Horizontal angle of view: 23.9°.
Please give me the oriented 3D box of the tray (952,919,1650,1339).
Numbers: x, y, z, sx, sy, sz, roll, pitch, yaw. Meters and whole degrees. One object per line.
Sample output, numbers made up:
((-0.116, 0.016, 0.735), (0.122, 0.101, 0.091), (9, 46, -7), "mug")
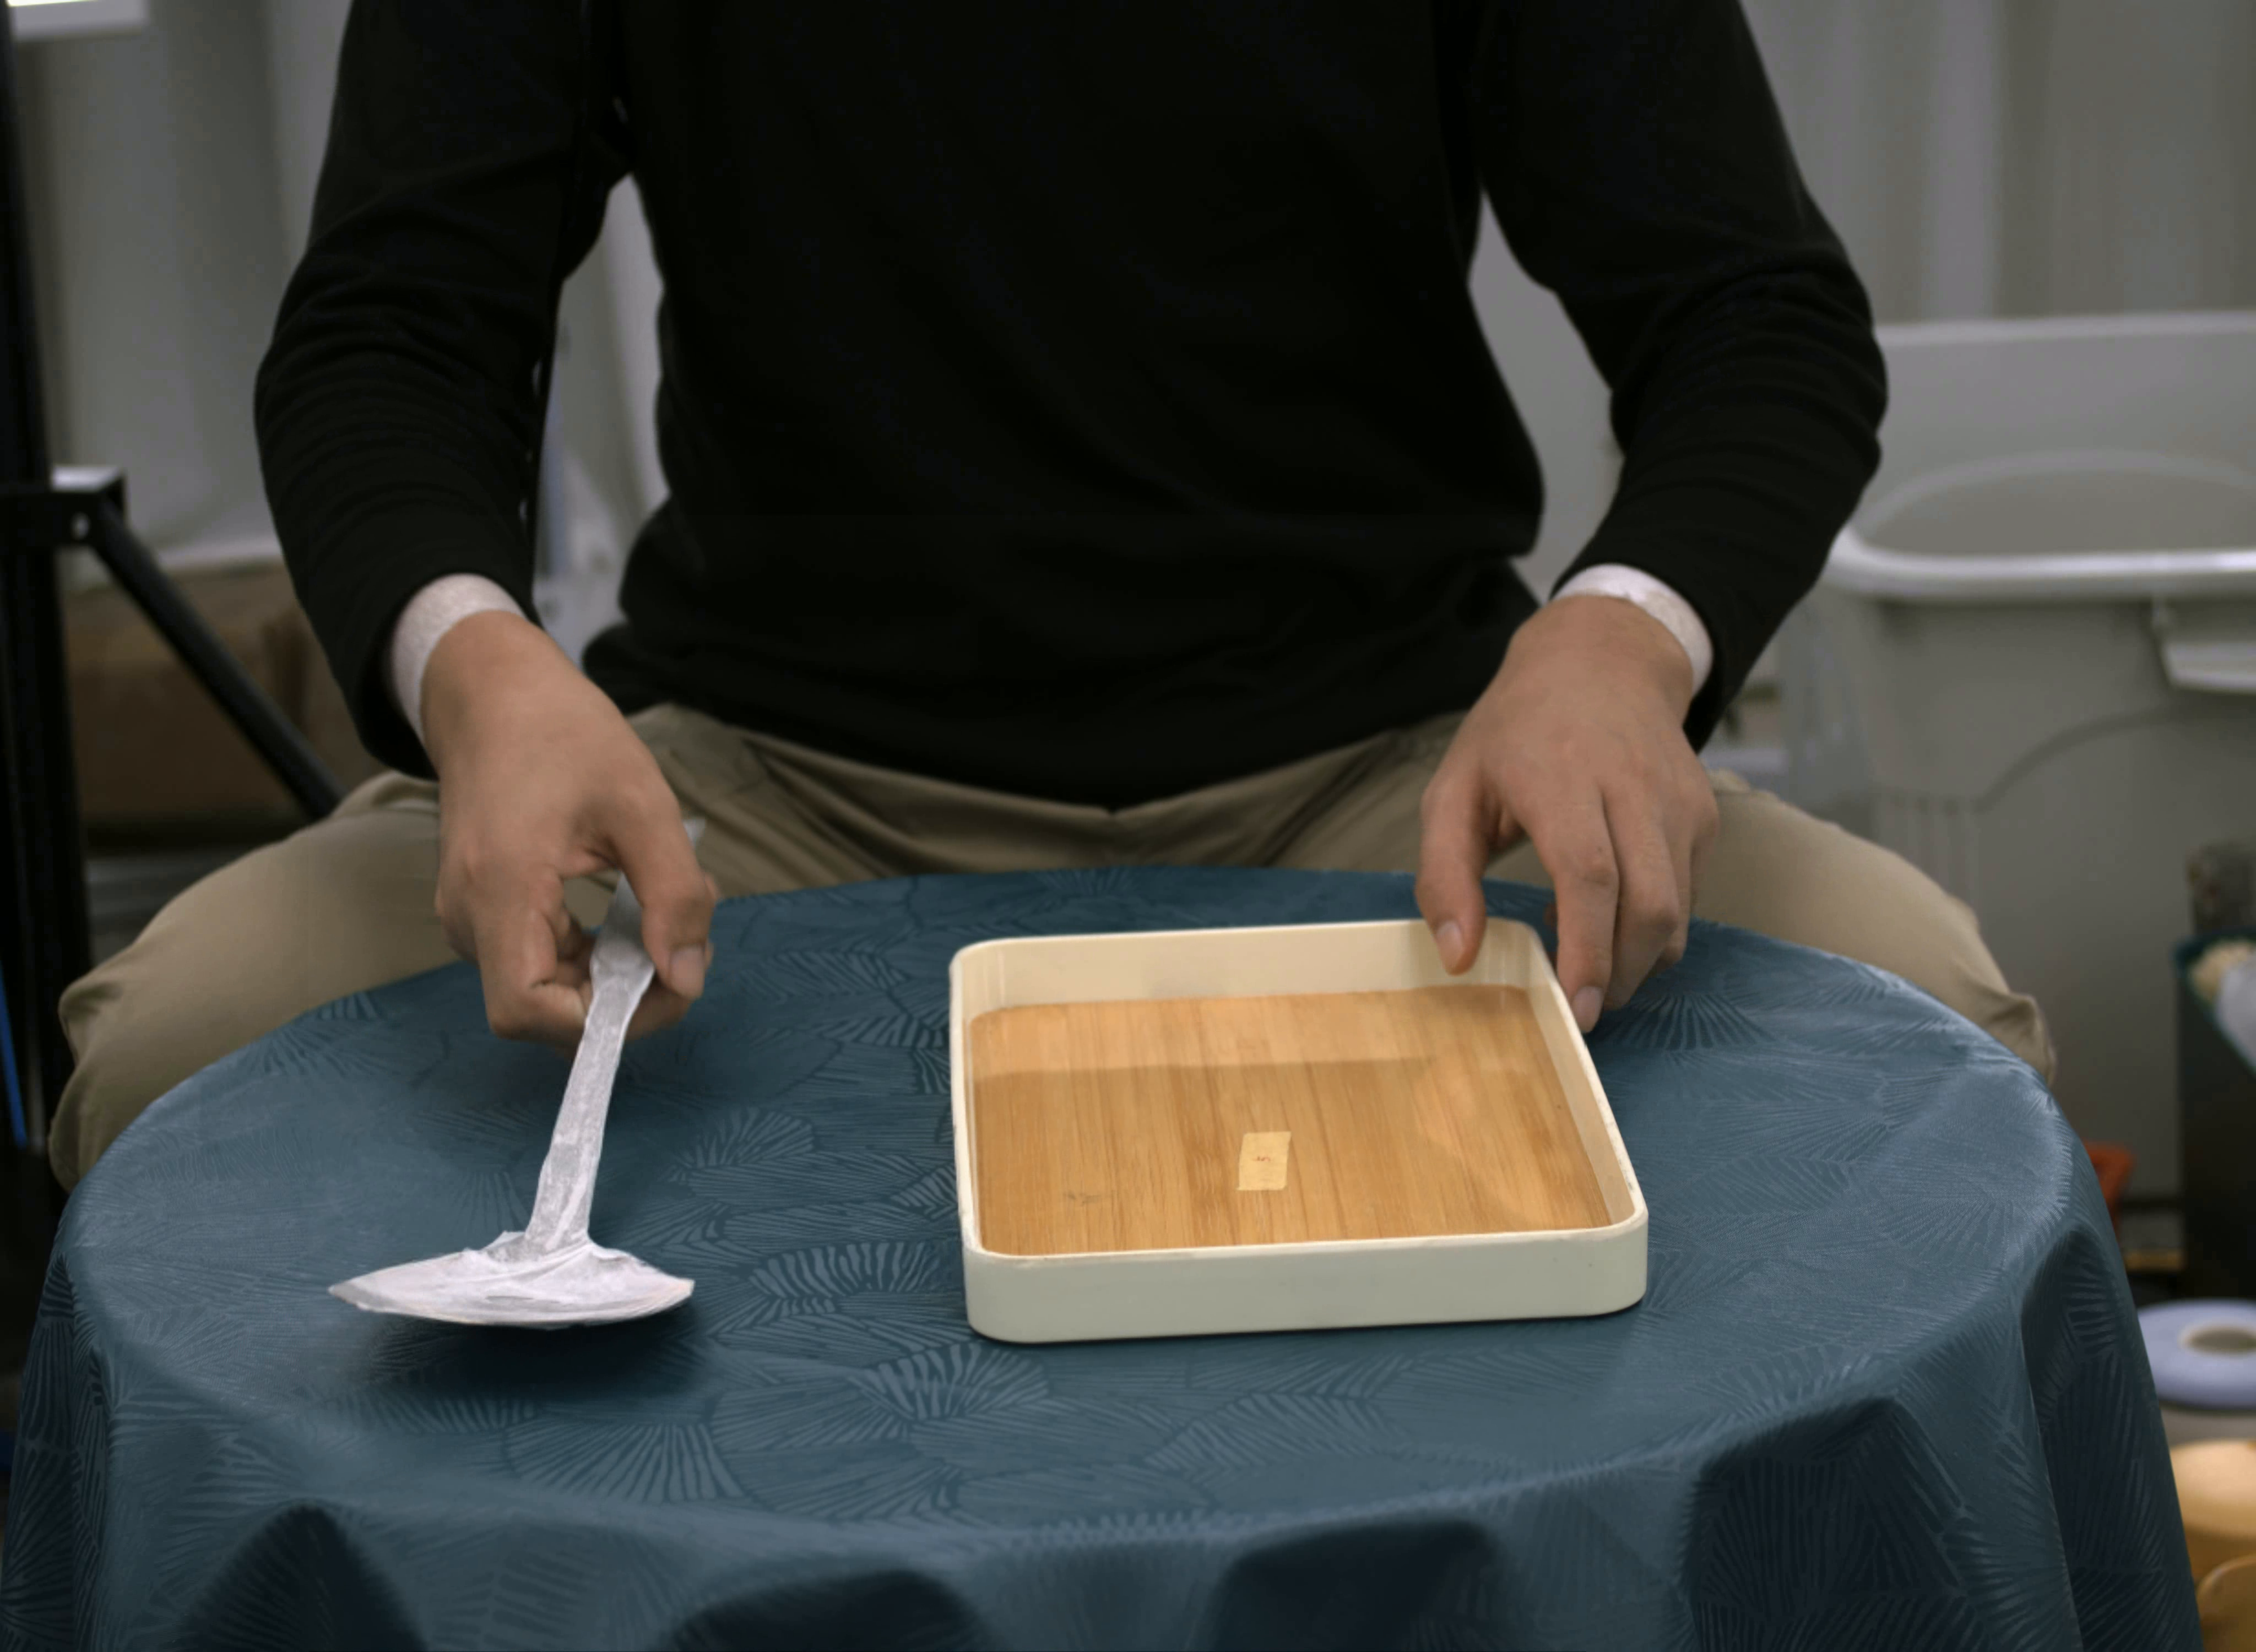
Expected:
((0.044, 0.086, 1.578), (0.190, 0.027, 0.302), (-3, 16, -1), "tray")

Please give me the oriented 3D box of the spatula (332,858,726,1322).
((-0.156, 0.070, 1.586), (0.098, 0.044, 0.366), (1, 25, 4), "spatula")
